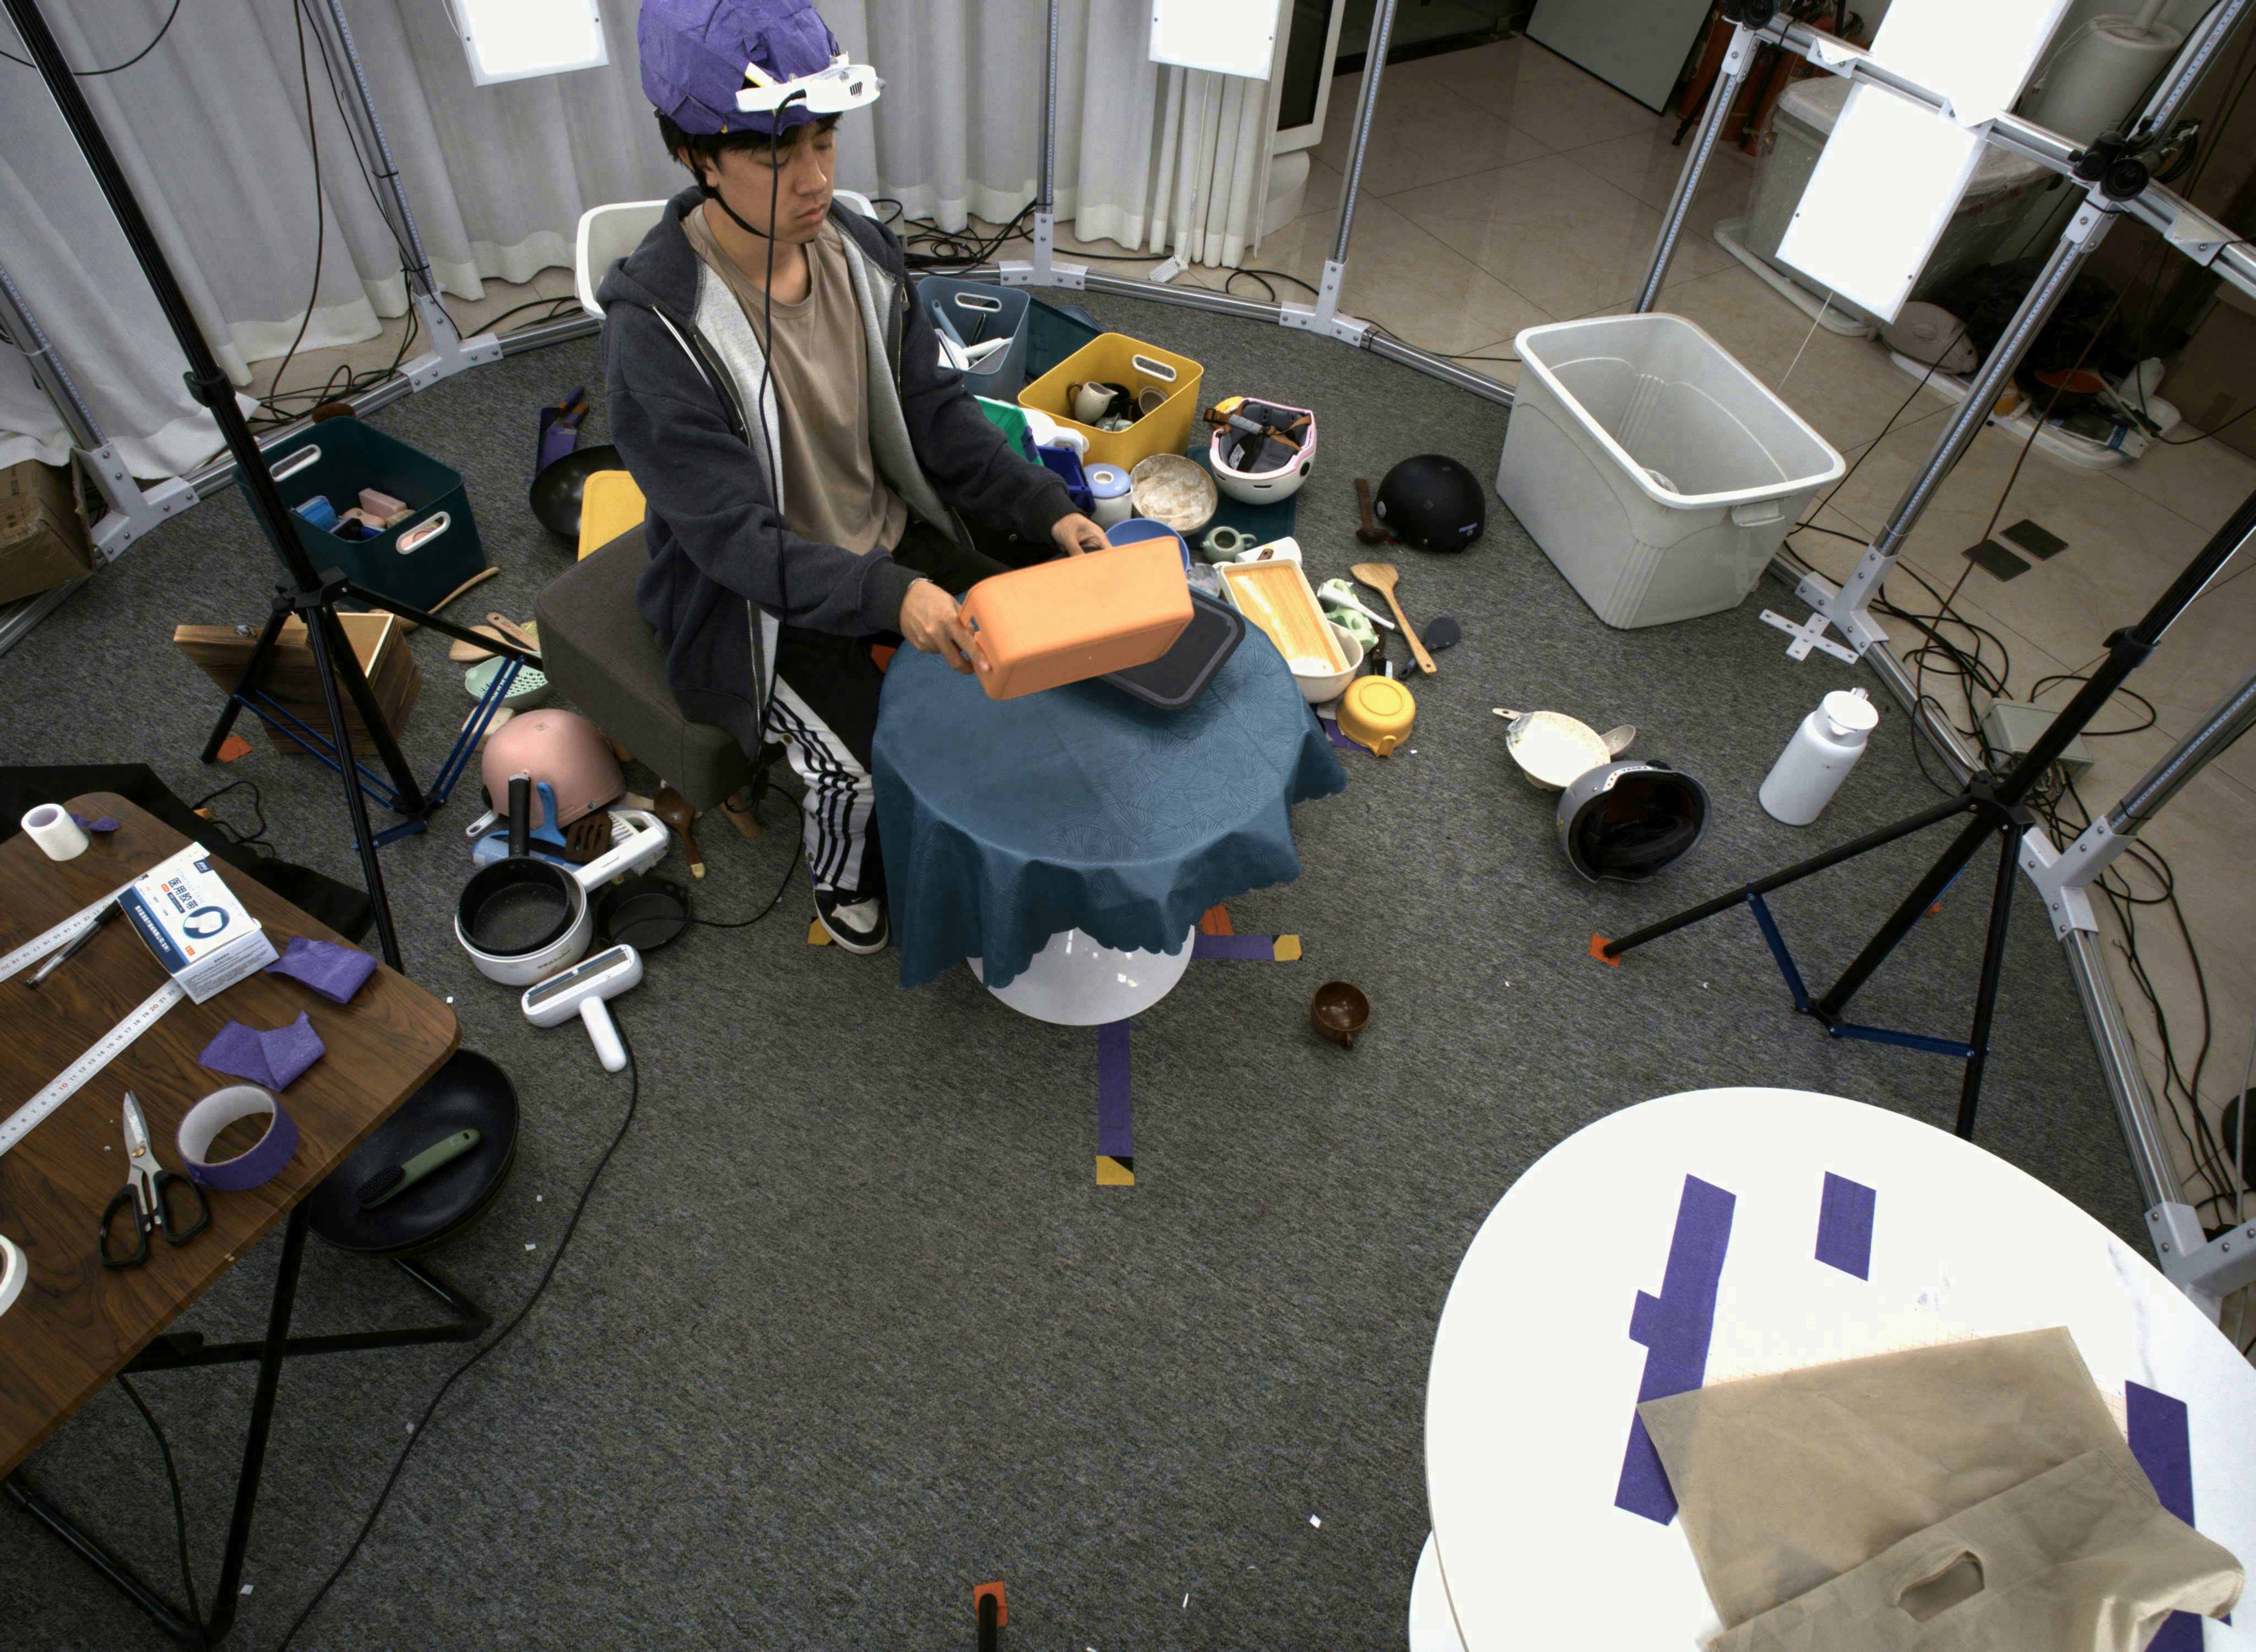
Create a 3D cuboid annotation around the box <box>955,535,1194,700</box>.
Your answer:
[{"bbox_3d":[-0.062,-0.245,1.554,0.273,0.198,0.103,-16,83,-16],"label":"box"}]

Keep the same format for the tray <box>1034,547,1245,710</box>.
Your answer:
[{"bbox_3d":[-0.009,-0.292,1.842,0.328,0.009,0.214,28,61,17],"label":"tray"}]
